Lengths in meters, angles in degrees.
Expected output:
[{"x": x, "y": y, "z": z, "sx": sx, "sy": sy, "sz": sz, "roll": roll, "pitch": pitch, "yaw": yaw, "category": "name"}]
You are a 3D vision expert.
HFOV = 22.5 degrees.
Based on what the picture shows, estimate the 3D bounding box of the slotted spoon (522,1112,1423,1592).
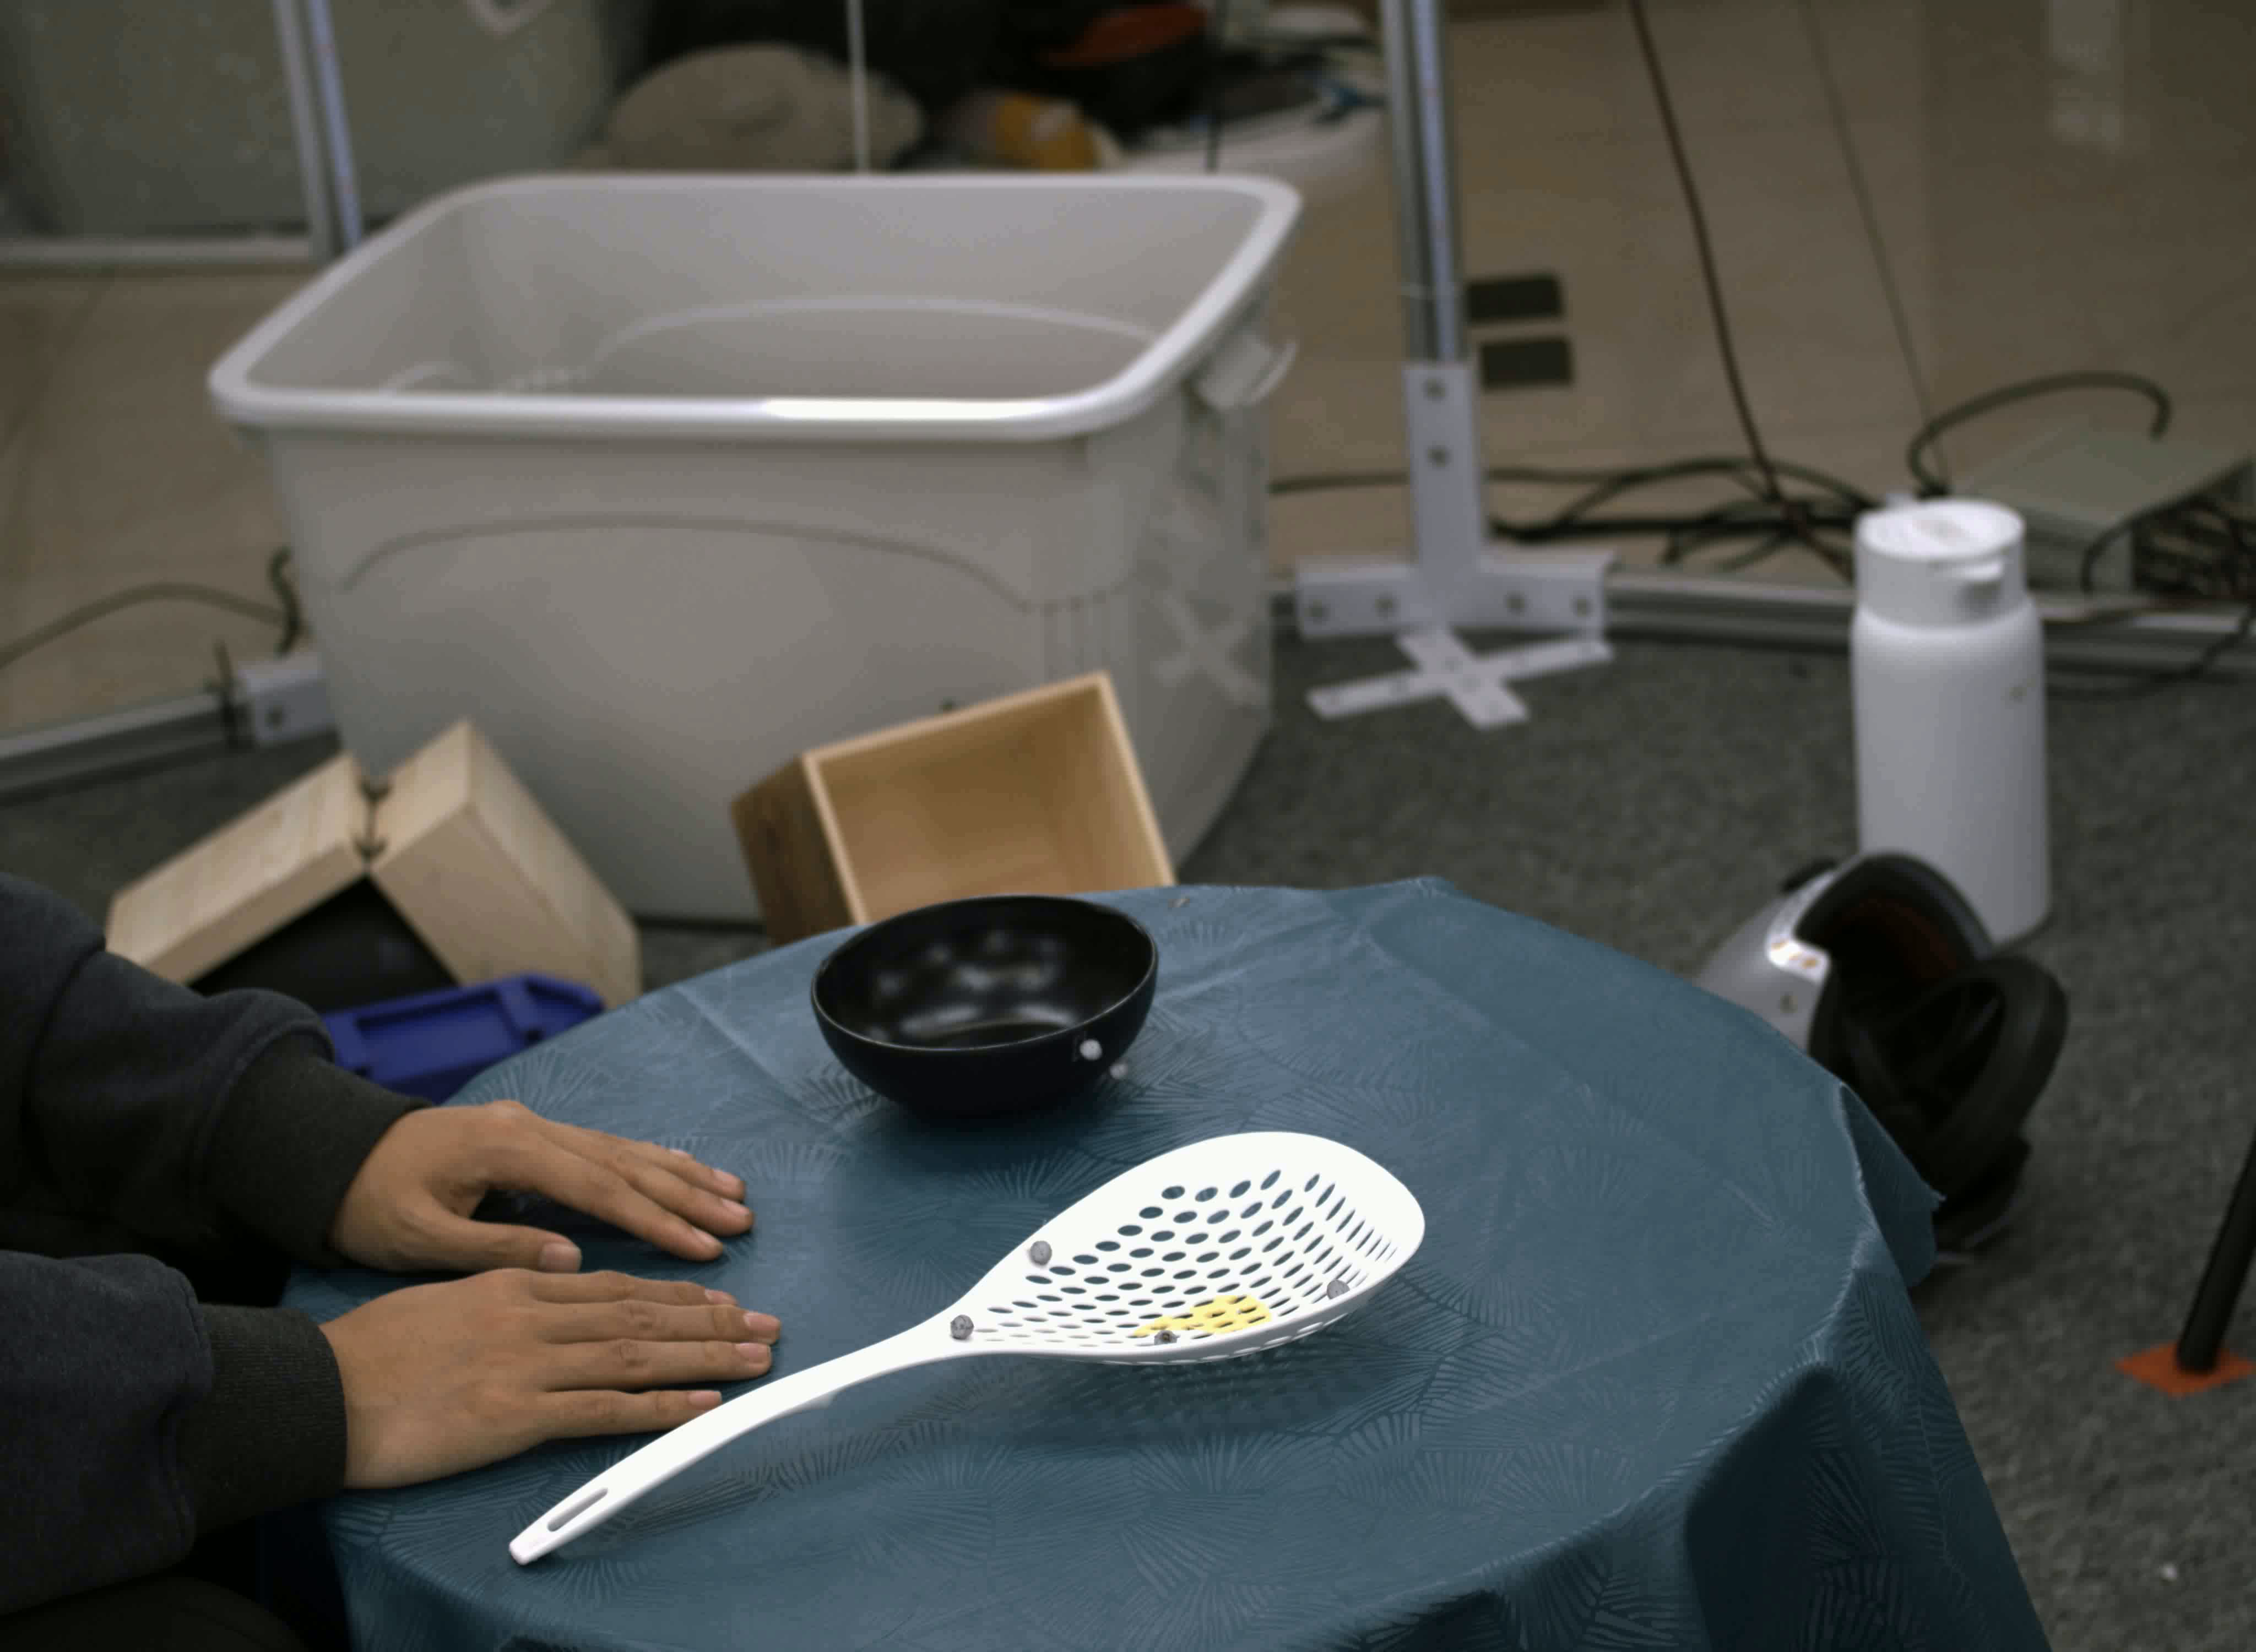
[{"x": -0.058, "y": 0.189, "z": 2.005, "sx": 0.346, "sy": 0.051, "sz": 0.135, "roll": -17, "pitch": 30, "yaw": -20, "category": "slotted spoon"}]
